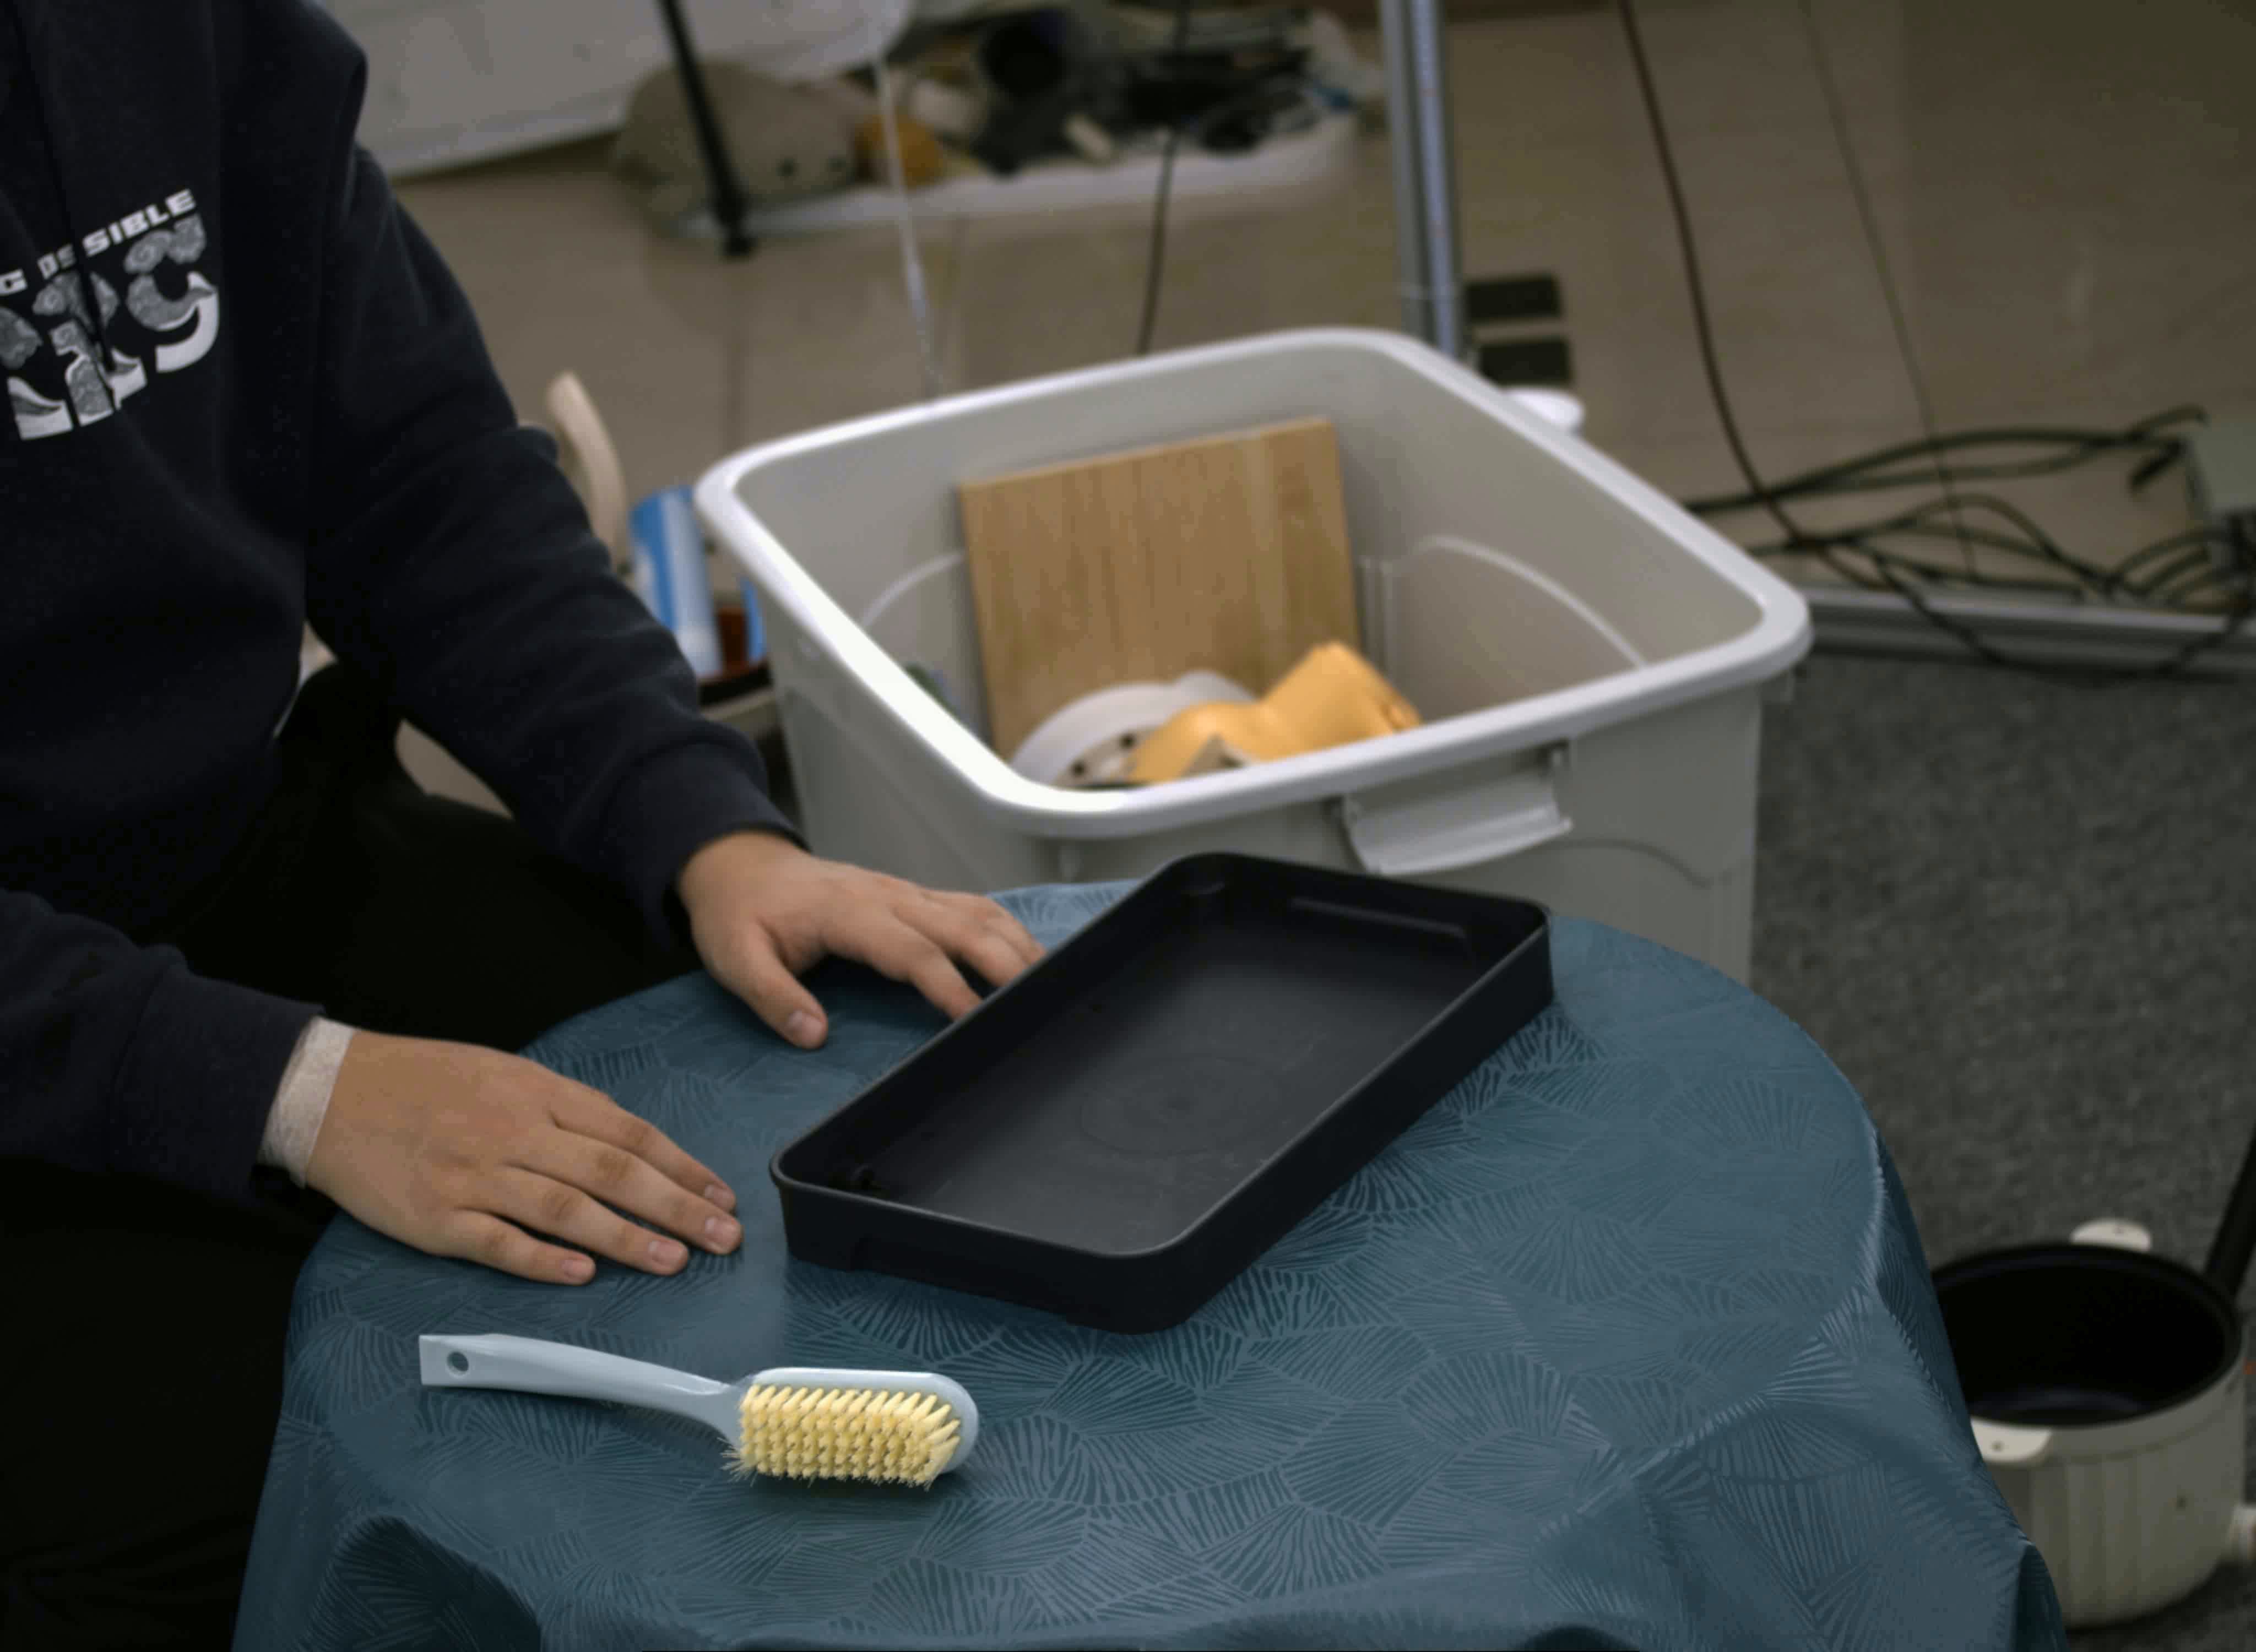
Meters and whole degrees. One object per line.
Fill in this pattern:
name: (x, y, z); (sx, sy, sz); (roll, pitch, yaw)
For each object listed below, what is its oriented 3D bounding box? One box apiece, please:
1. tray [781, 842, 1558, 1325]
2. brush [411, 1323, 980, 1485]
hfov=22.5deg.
tray: (0.022, 0.094, 2.198); (0.183, 0.037, 0.314); (9, 29, 31)
brush: (-0.161, 0.201, 2.006); (0.228, 0.038, 0.049); (7, 21, 27)
